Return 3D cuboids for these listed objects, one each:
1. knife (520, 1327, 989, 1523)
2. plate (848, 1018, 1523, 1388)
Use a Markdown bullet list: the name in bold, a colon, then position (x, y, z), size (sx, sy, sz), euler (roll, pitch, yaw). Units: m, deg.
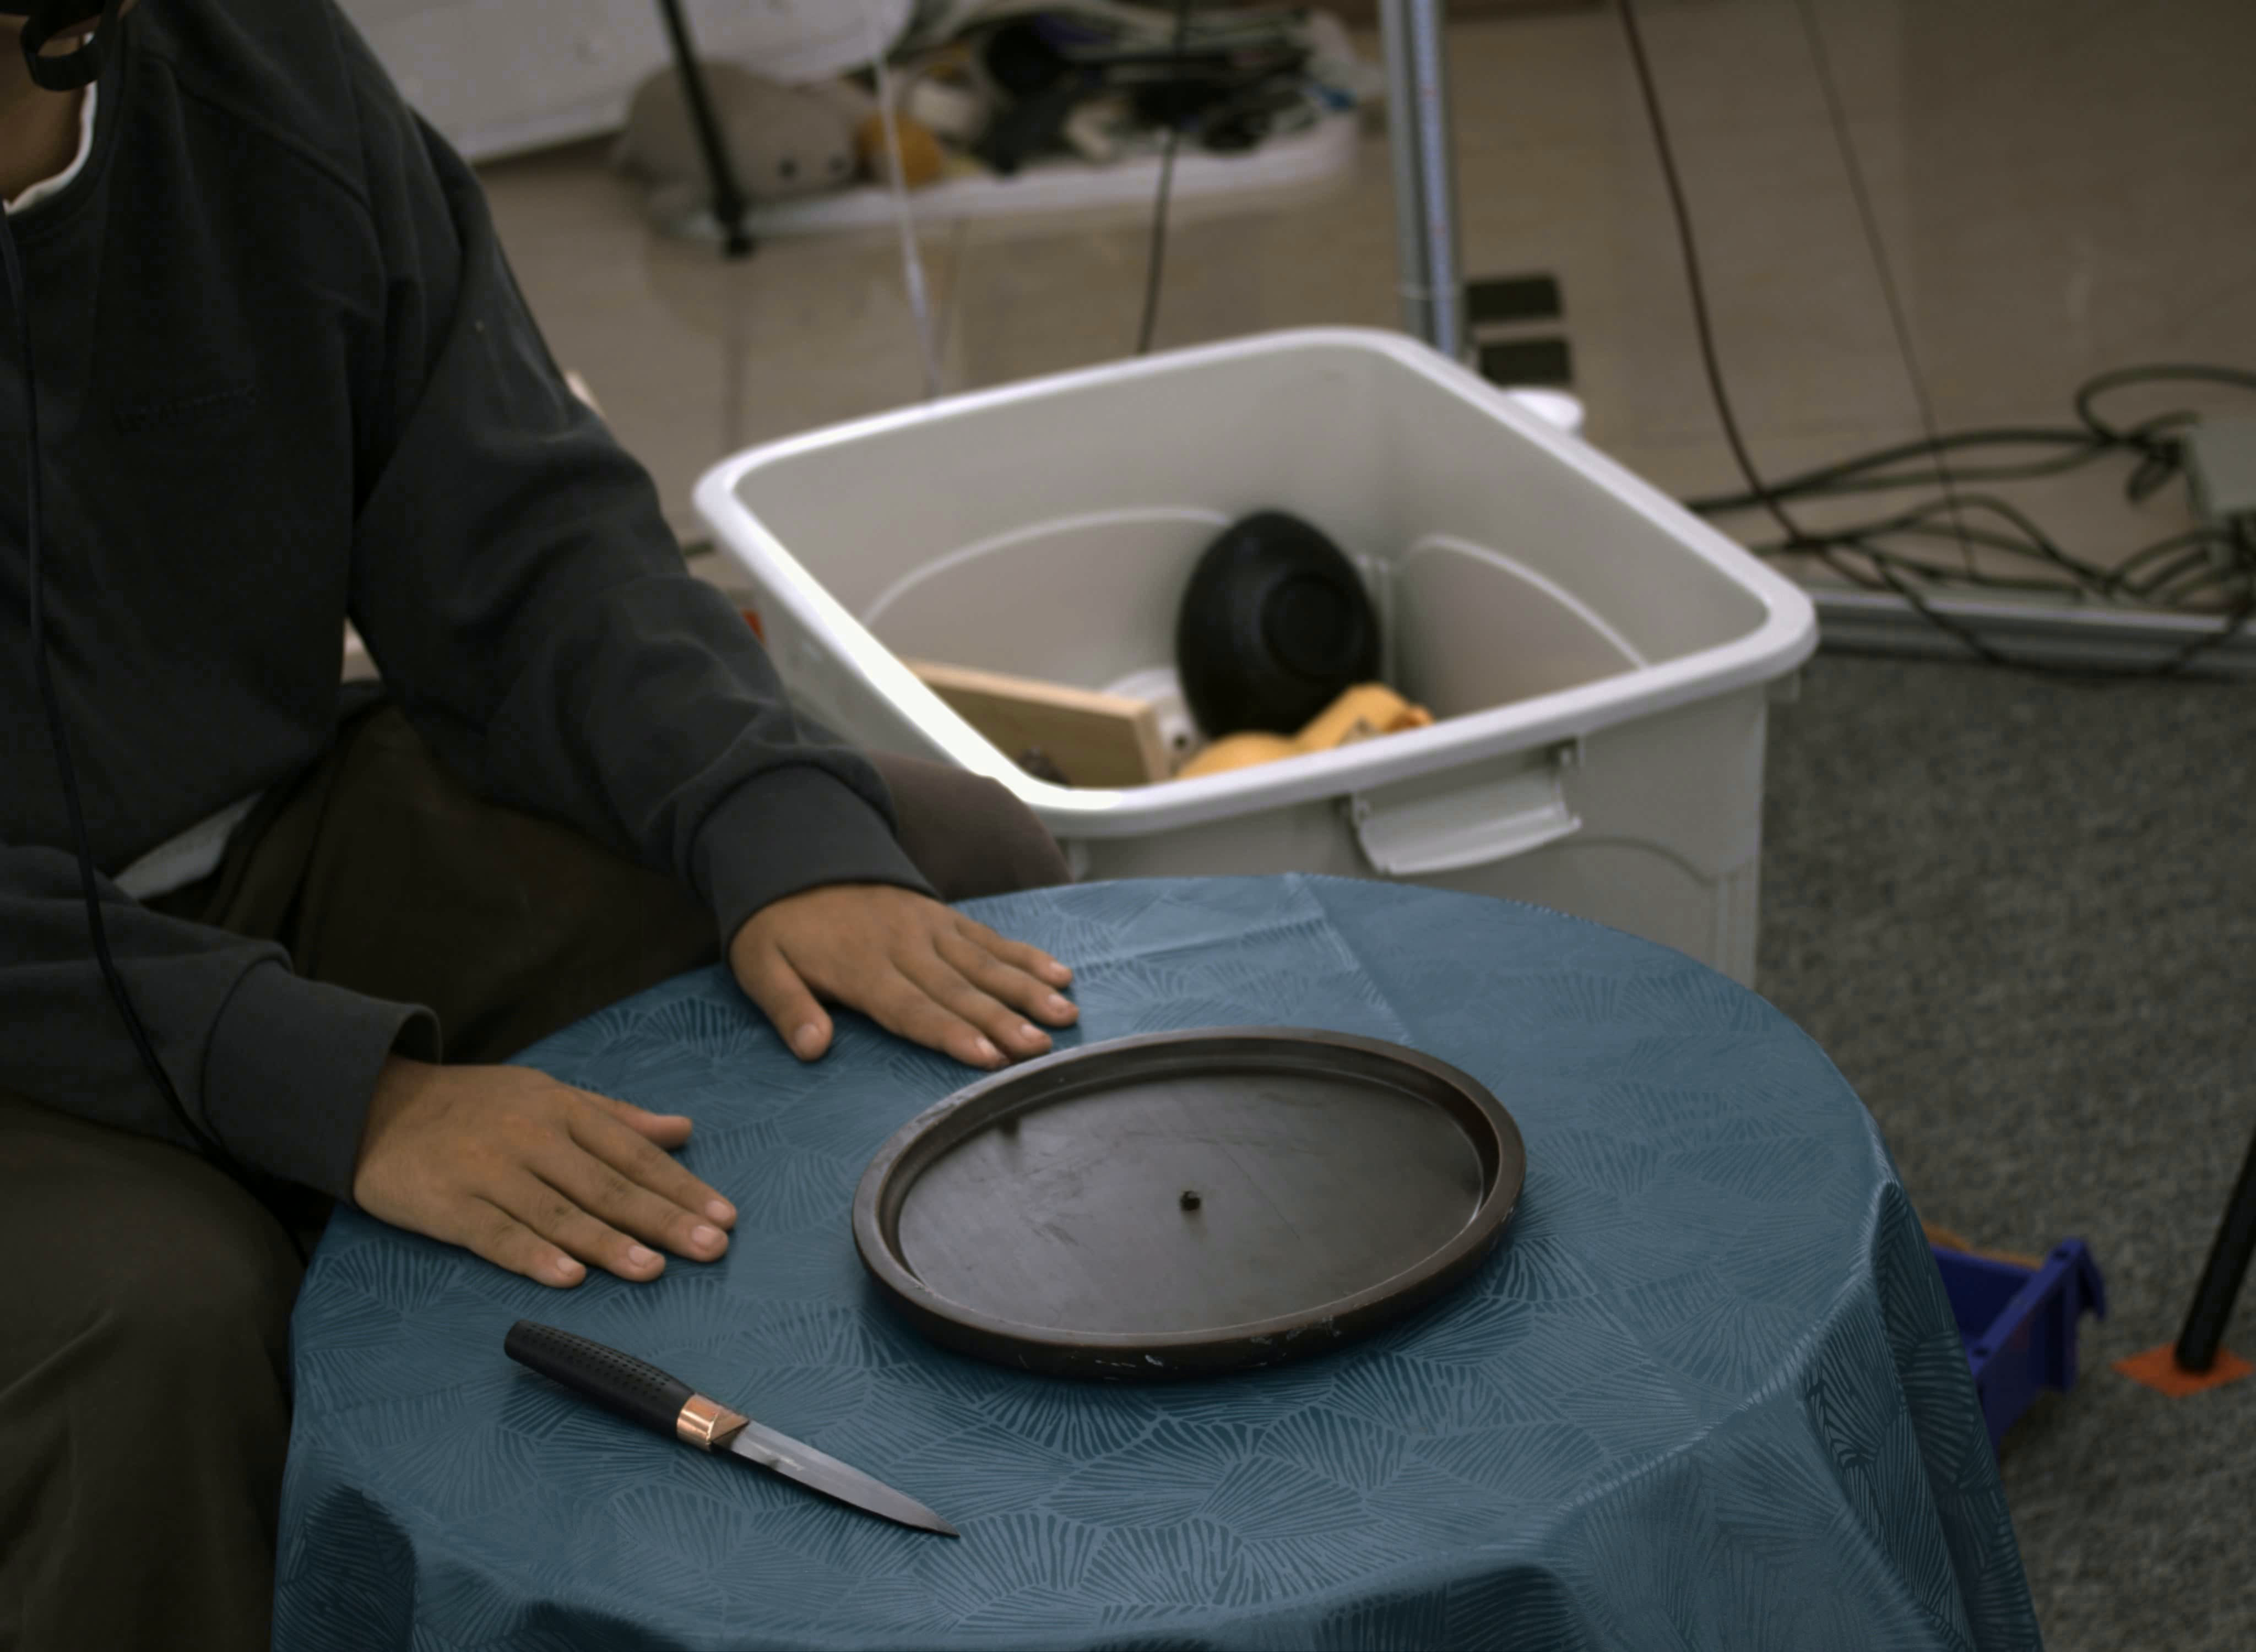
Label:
- **knife**: position (-0.135, 0.213, 2.007), size (0.224, 0.017, 0.026), euler (17, 29, 39)
- **plate**: position (0.022, 0.139, 2.115), size (0.254, 0.029, 0.251), euler (-7, 25, 3)
